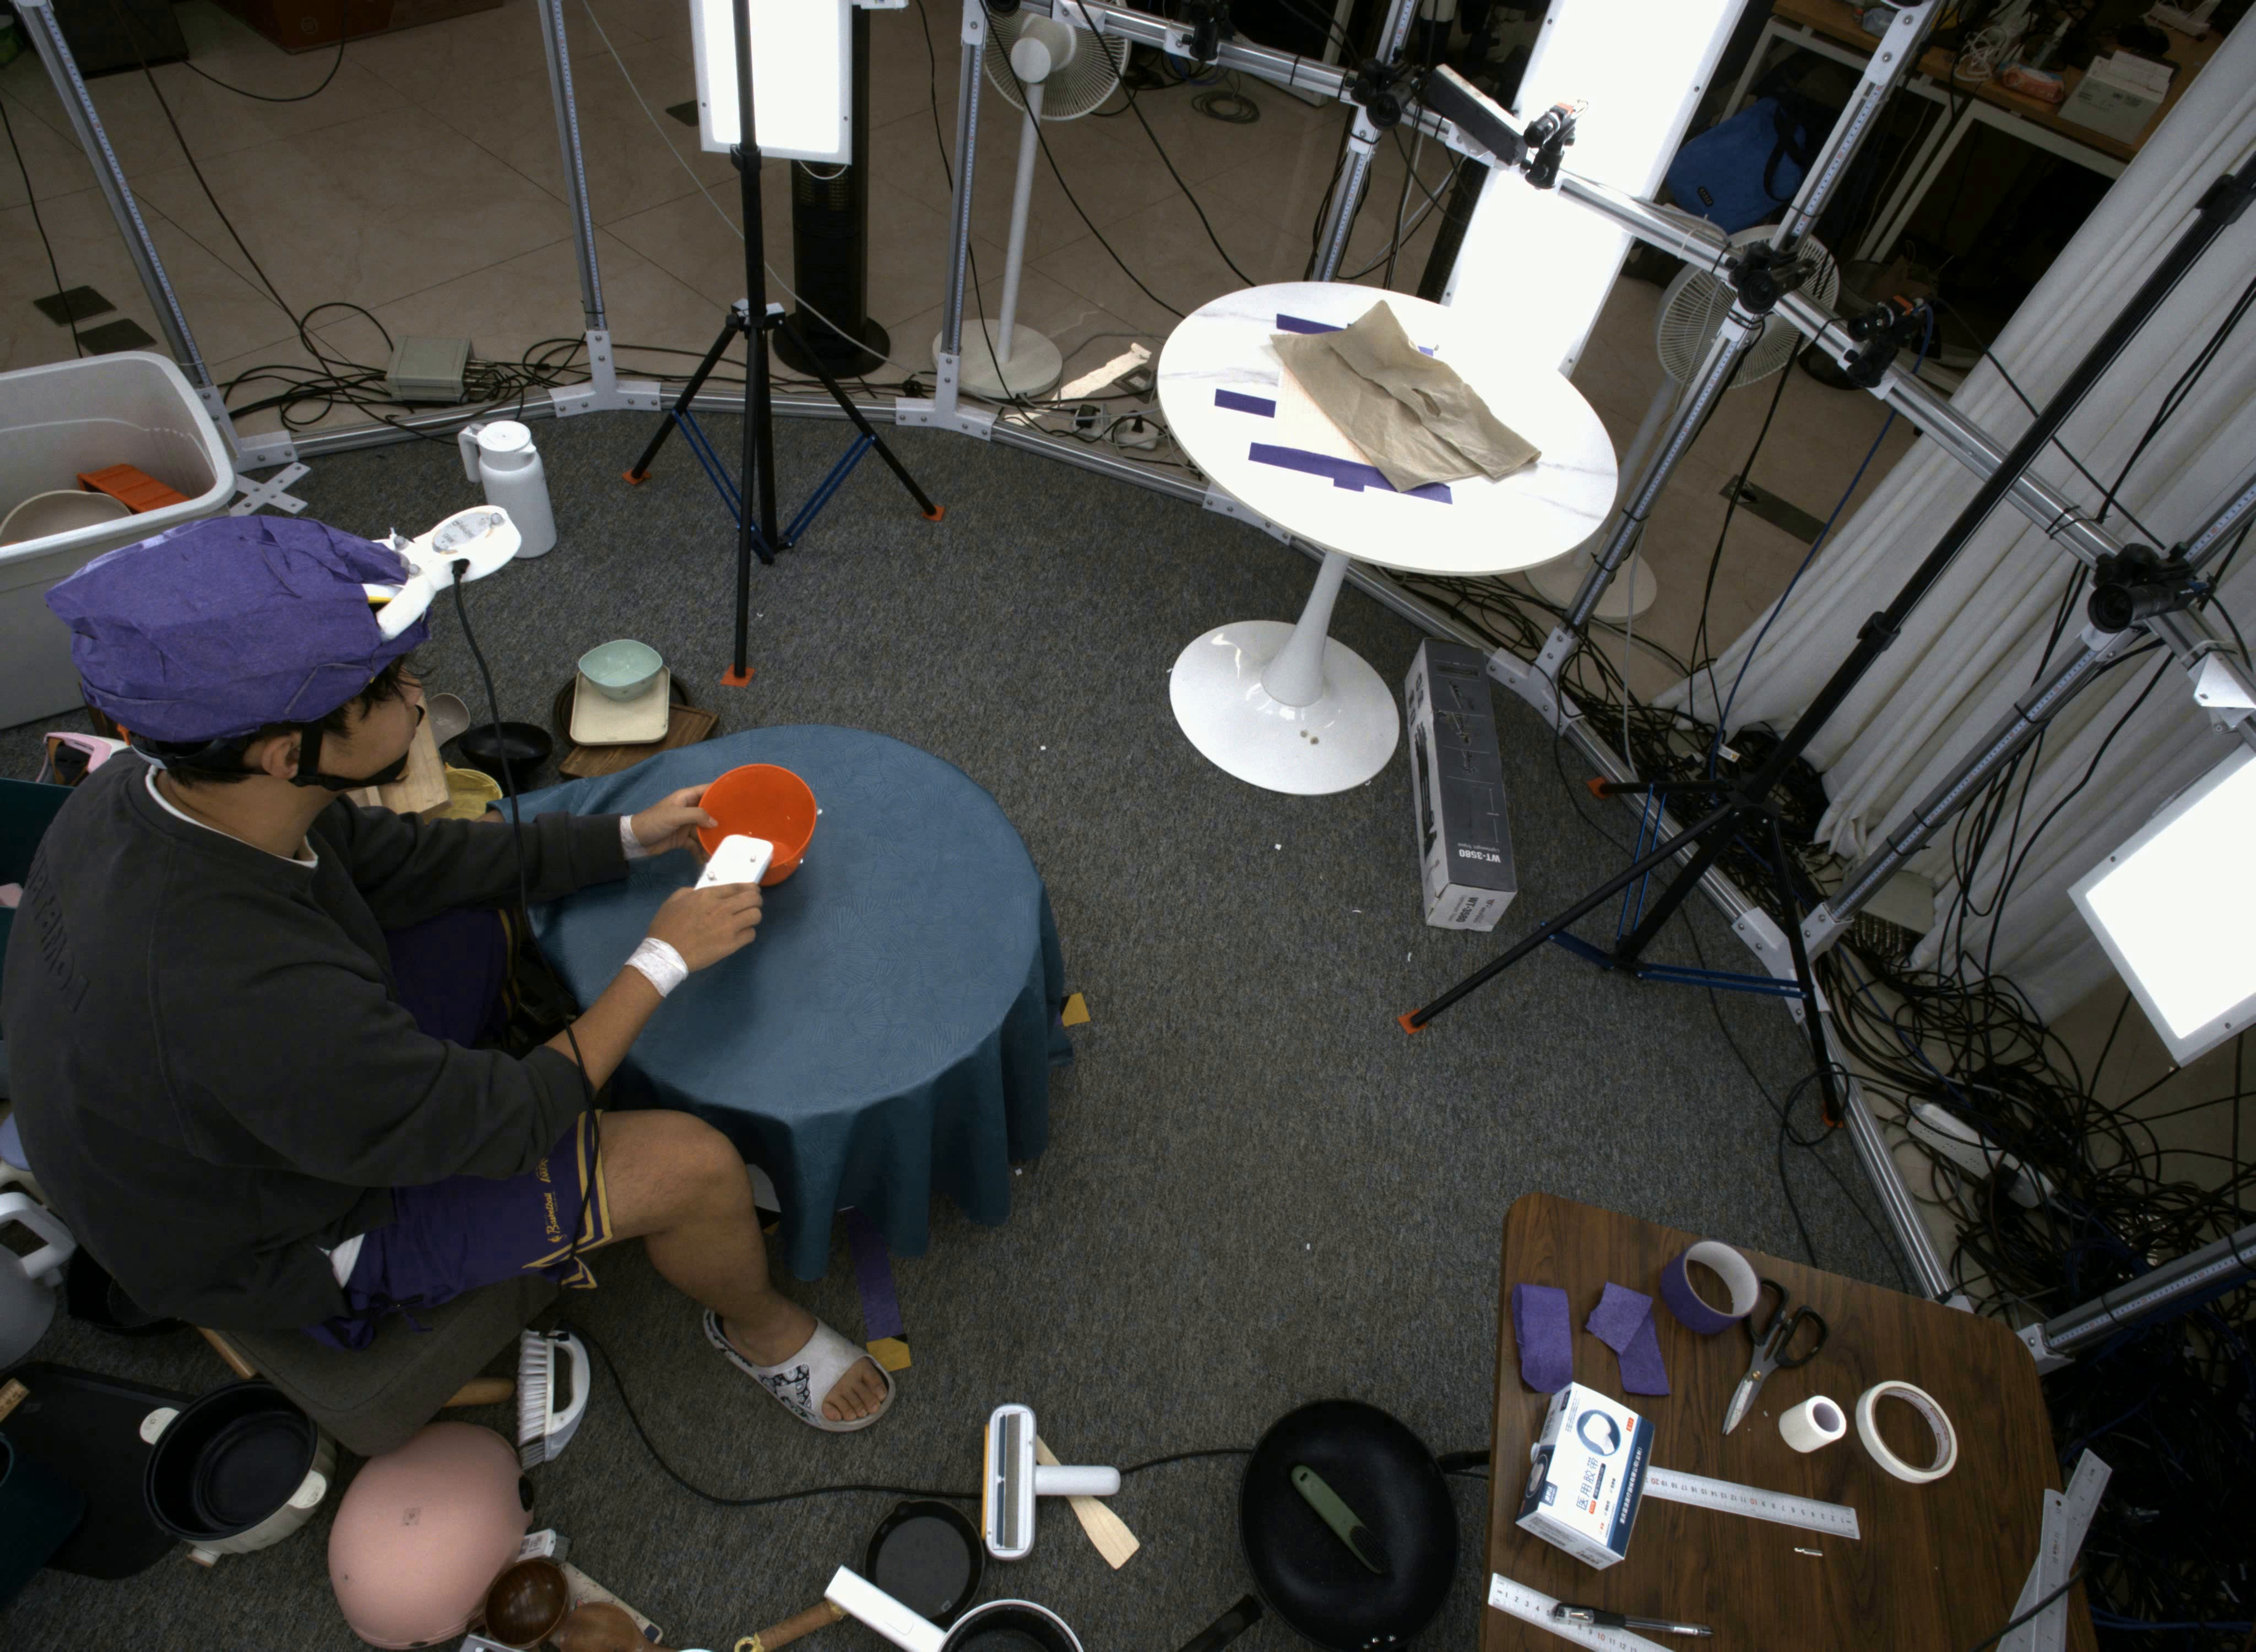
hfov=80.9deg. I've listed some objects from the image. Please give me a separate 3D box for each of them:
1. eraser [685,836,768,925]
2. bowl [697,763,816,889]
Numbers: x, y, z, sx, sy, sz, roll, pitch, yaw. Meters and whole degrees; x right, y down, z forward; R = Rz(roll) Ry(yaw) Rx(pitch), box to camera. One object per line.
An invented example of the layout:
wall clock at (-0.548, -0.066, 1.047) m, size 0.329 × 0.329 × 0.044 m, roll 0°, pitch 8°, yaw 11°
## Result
eraser at (-0.478, 0.059, 1.539) m, size 0.062 × 0.035 × 0.129 m, roll 12°, pitch 41°, yaw 4°
bowl at (-0.464, 0.011, 1.642) m, size 0.147 × 0.107 × 0.145 m, roll 3°, pitch 55°, yaw -2°
